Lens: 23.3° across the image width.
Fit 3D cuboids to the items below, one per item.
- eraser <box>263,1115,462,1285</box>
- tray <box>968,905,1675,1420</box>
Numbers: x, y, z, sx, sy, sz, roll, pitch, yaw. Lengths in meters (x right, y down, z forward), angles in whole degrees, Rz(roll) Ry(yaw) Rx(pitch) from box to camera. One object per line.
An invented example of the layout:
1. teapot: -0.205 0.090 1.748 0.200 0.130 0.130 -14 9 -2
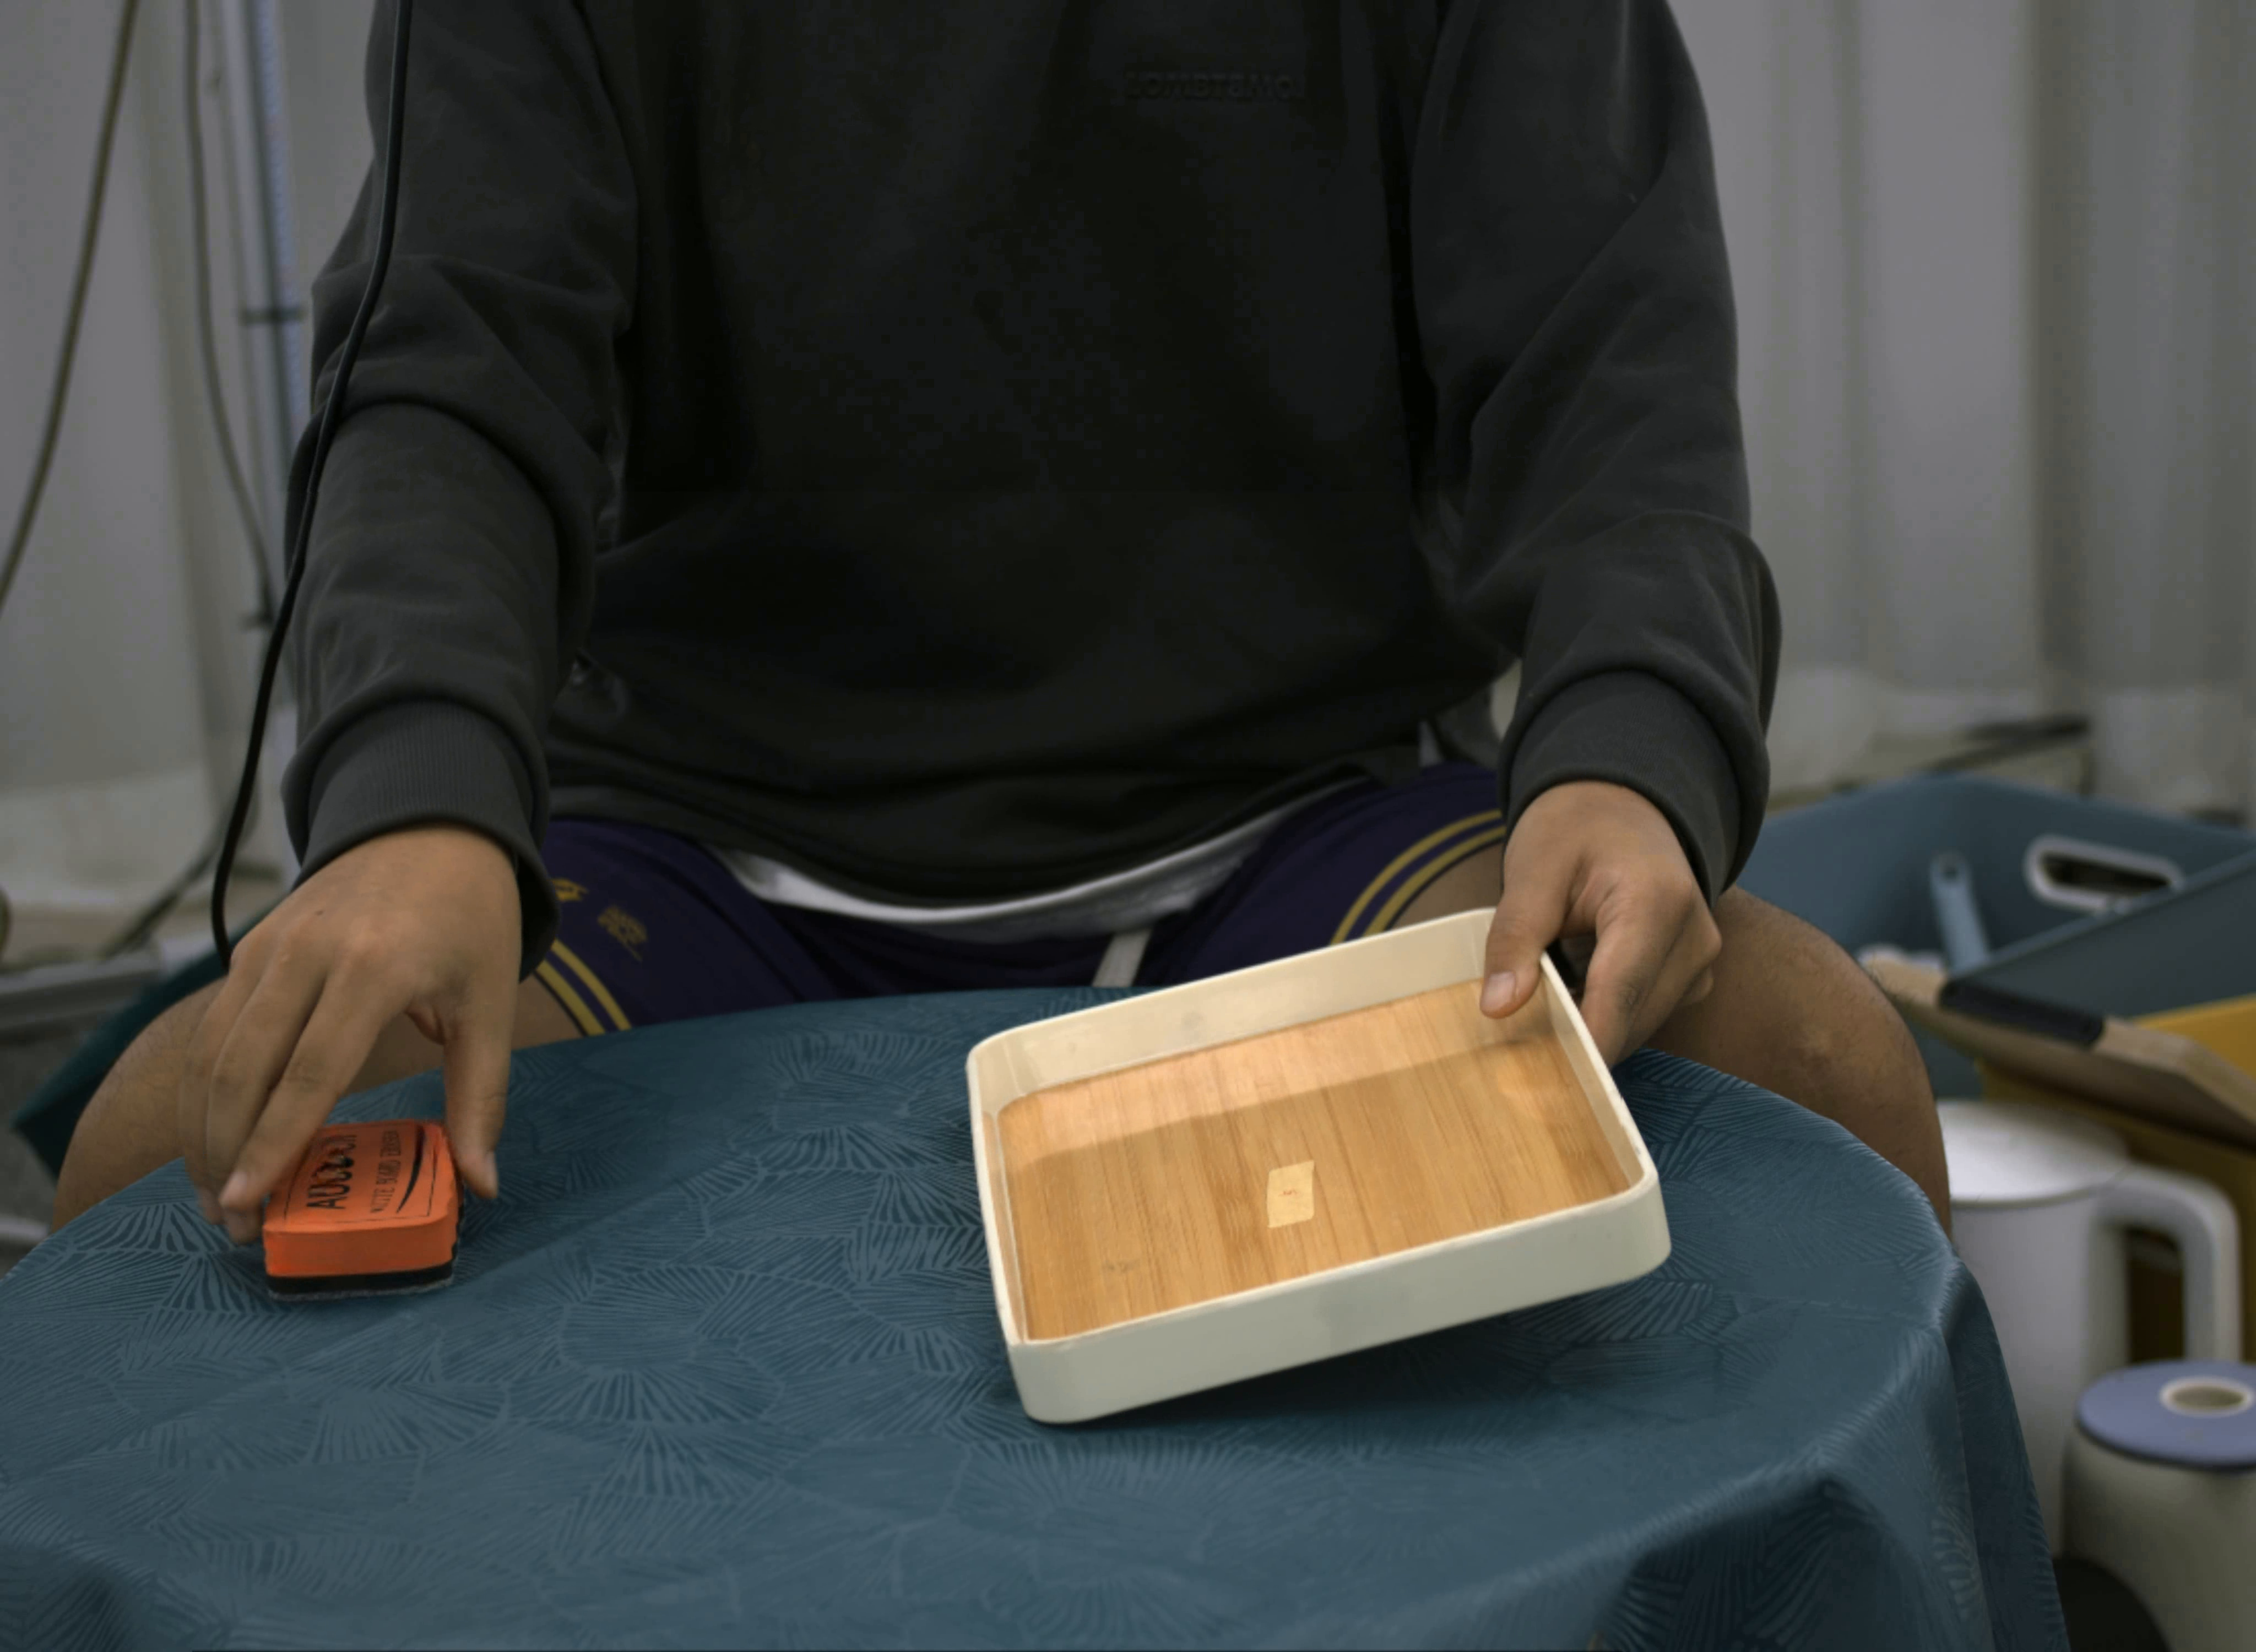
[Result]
1. eraser: -0.237 0.116 1.702 0.059 0.023 0.109 2 13 -5
2. tray: 0.051 0.097 1.656 0.191 0.027 0.302 -14 15 0
